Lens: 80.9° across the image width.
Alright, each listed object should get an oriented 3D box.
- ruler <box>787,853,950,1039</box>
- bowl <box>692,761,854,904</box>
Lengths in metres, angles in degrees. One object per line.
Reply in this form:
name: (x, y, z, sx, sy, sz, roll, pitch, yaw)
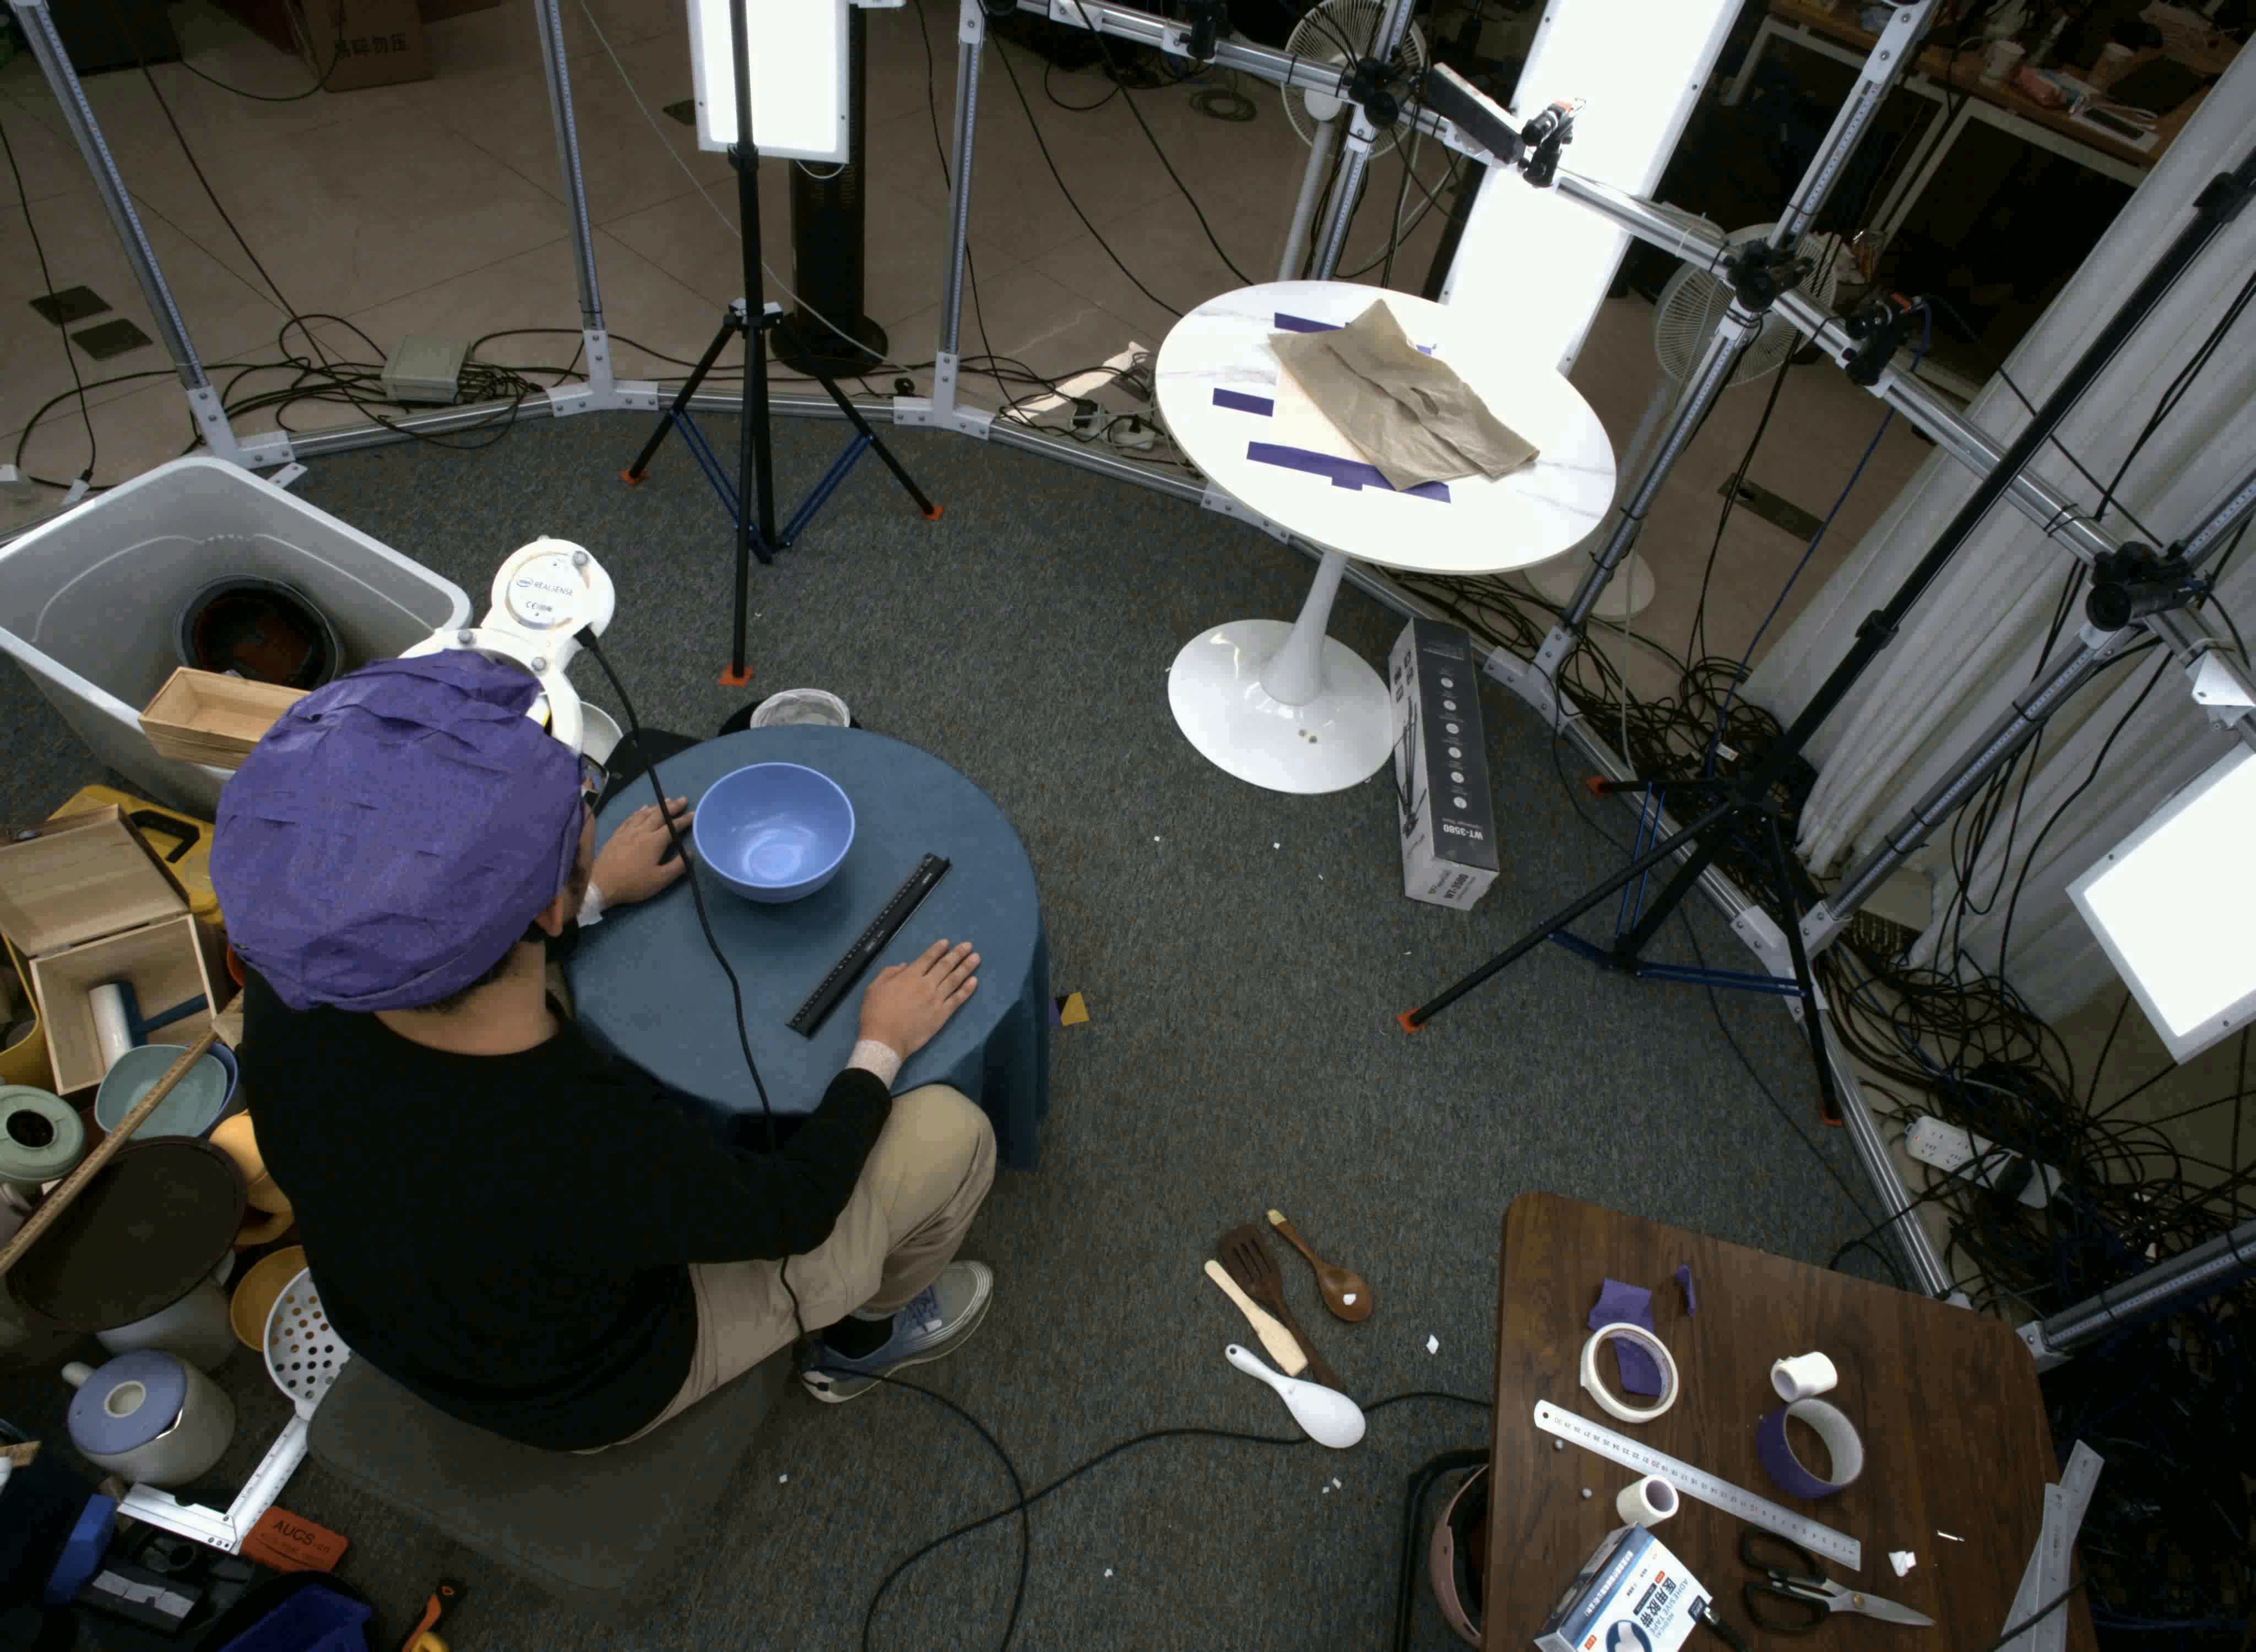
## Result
ruler: (-0.321, 0.138, 1.633, 0.038, 0.017, 0.311, 26, 52, 12)
bowl: (-0.445, 0.022, 1.635, 0.196, 0.097, 0.193, 8, 51, -8)
